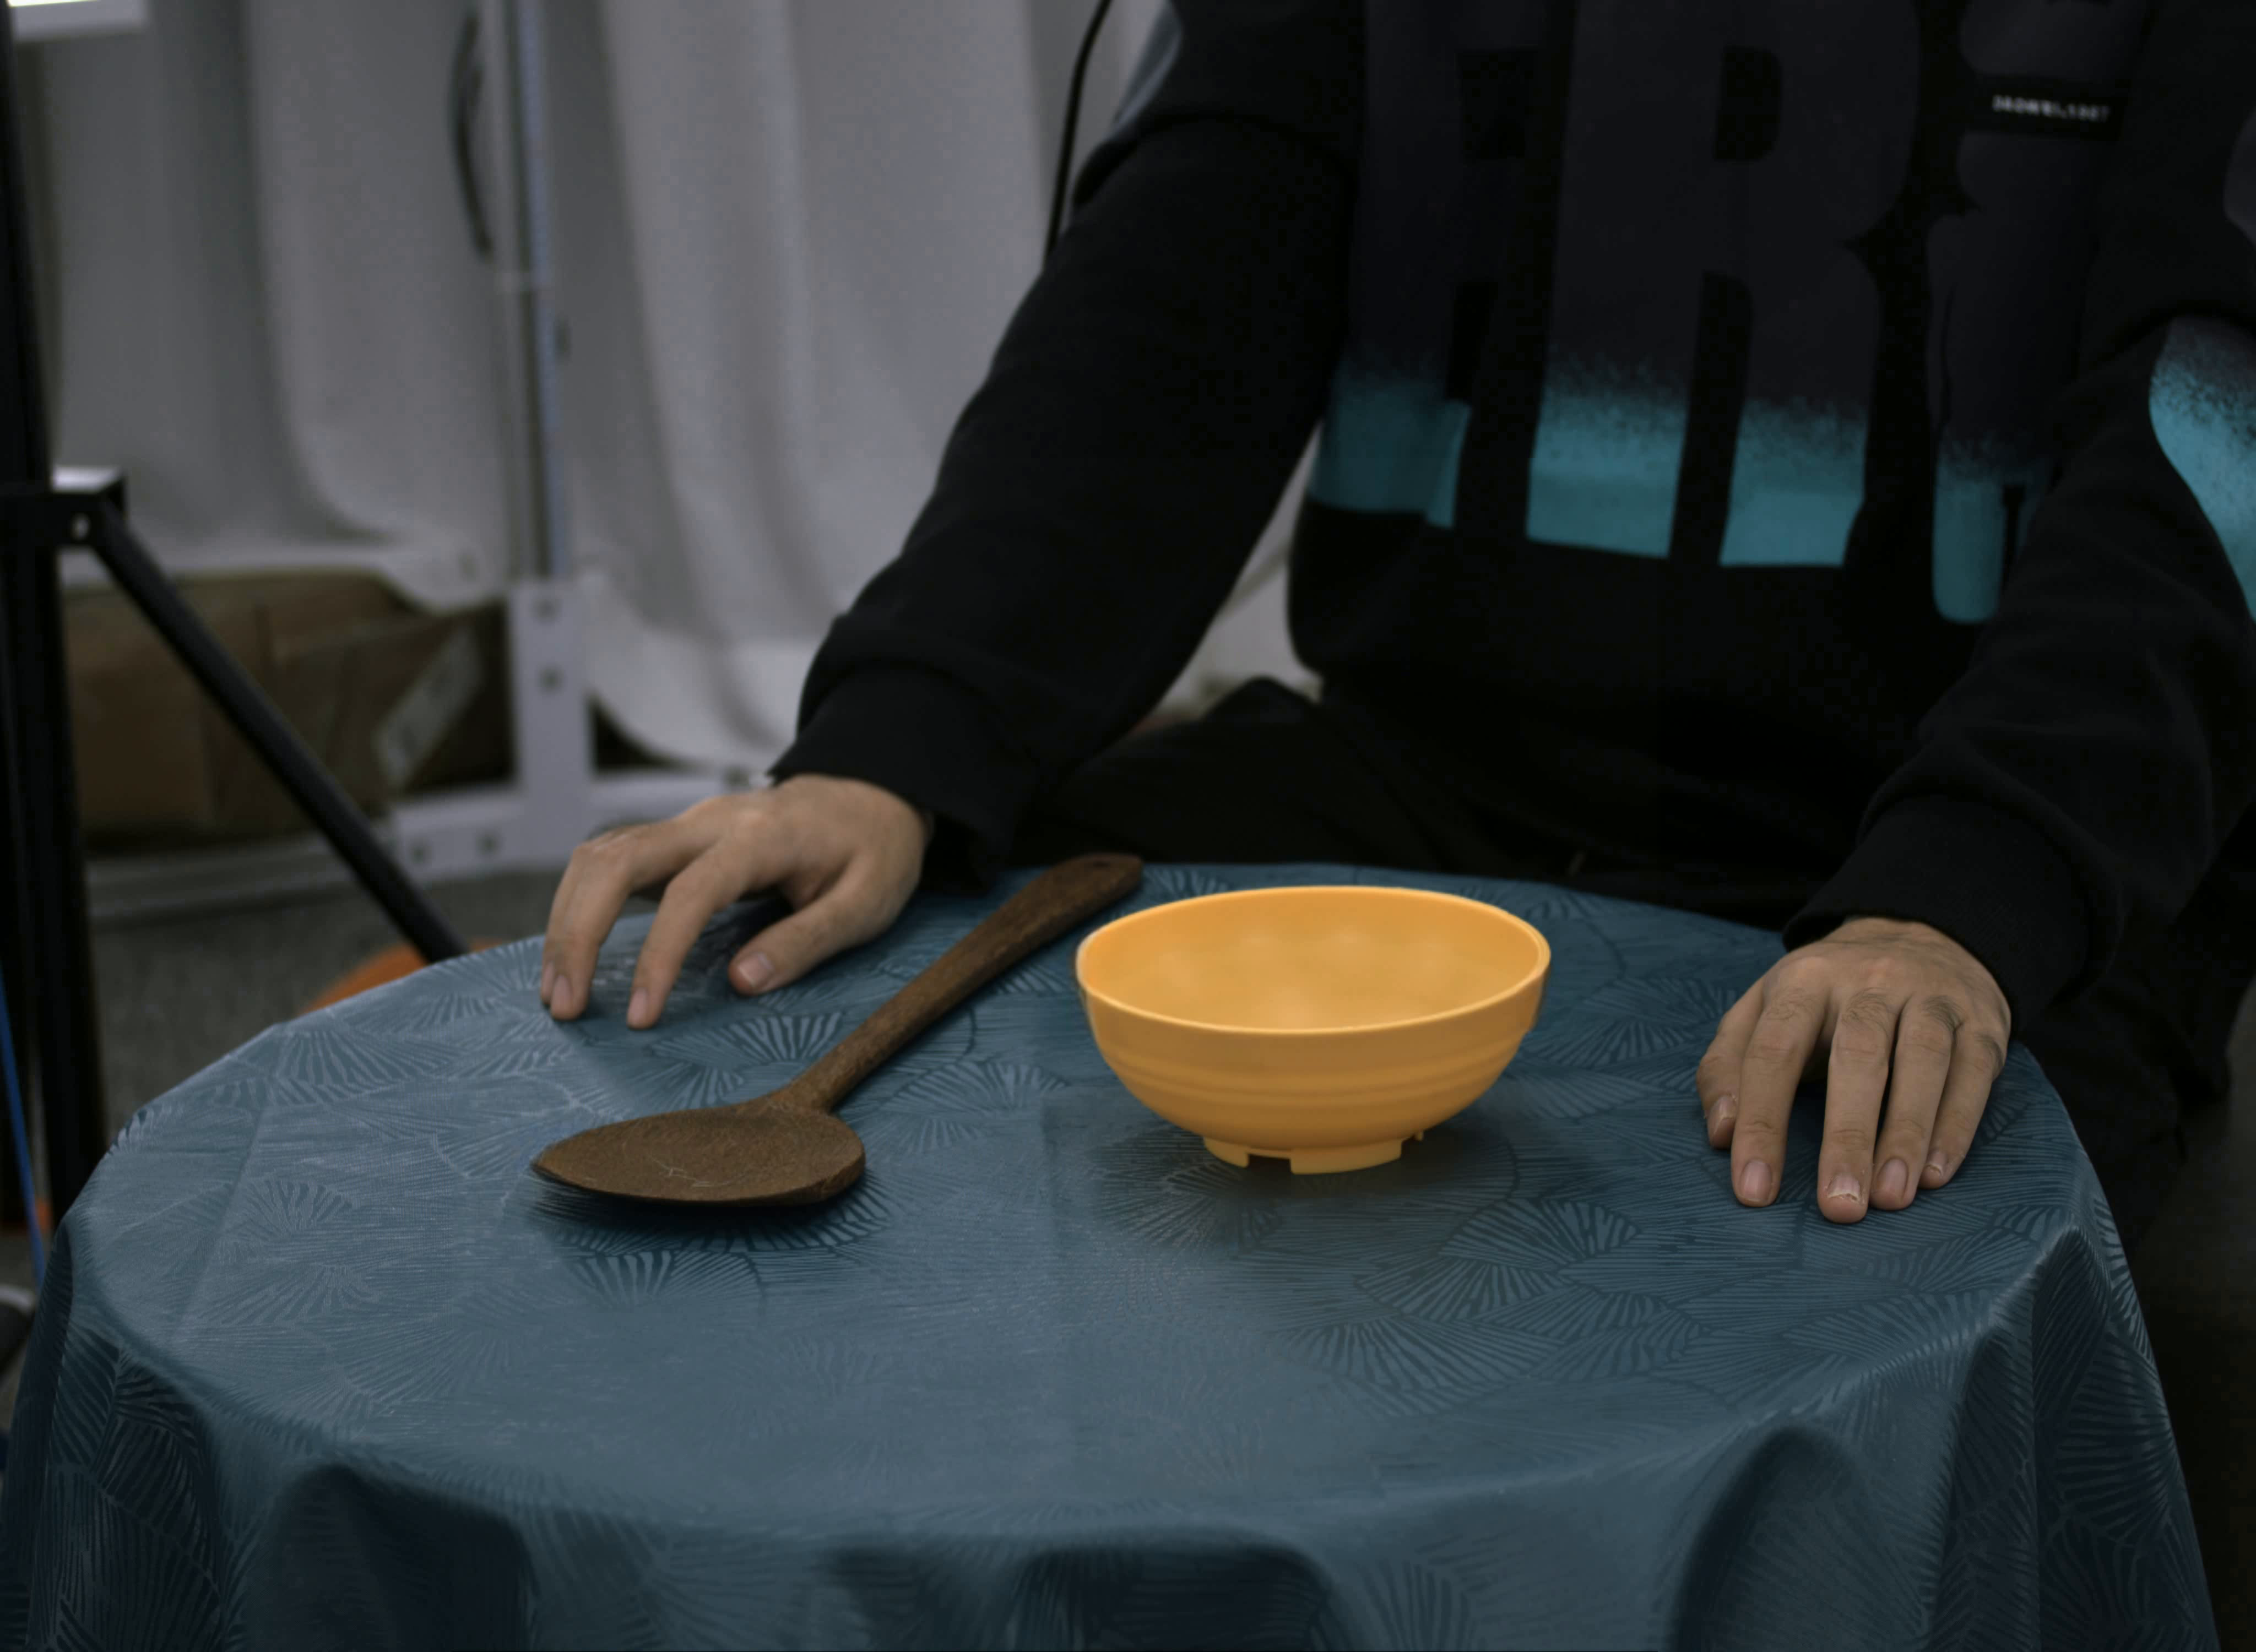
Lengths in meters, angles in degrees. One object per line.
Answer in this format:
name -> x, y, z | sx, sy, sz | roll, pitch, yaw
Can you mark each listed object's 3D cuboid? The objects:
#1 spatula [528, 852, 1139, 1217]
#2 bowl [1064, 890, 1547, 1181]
spatula -> -0.072, 0.061, 1.710 | 0.097, 0.016, 0.381 | 4, 17, 21
bowl -> 0.053, 0.068, 1.590 | 0.144, 0.060, 0.146 | 0, 16, -1
